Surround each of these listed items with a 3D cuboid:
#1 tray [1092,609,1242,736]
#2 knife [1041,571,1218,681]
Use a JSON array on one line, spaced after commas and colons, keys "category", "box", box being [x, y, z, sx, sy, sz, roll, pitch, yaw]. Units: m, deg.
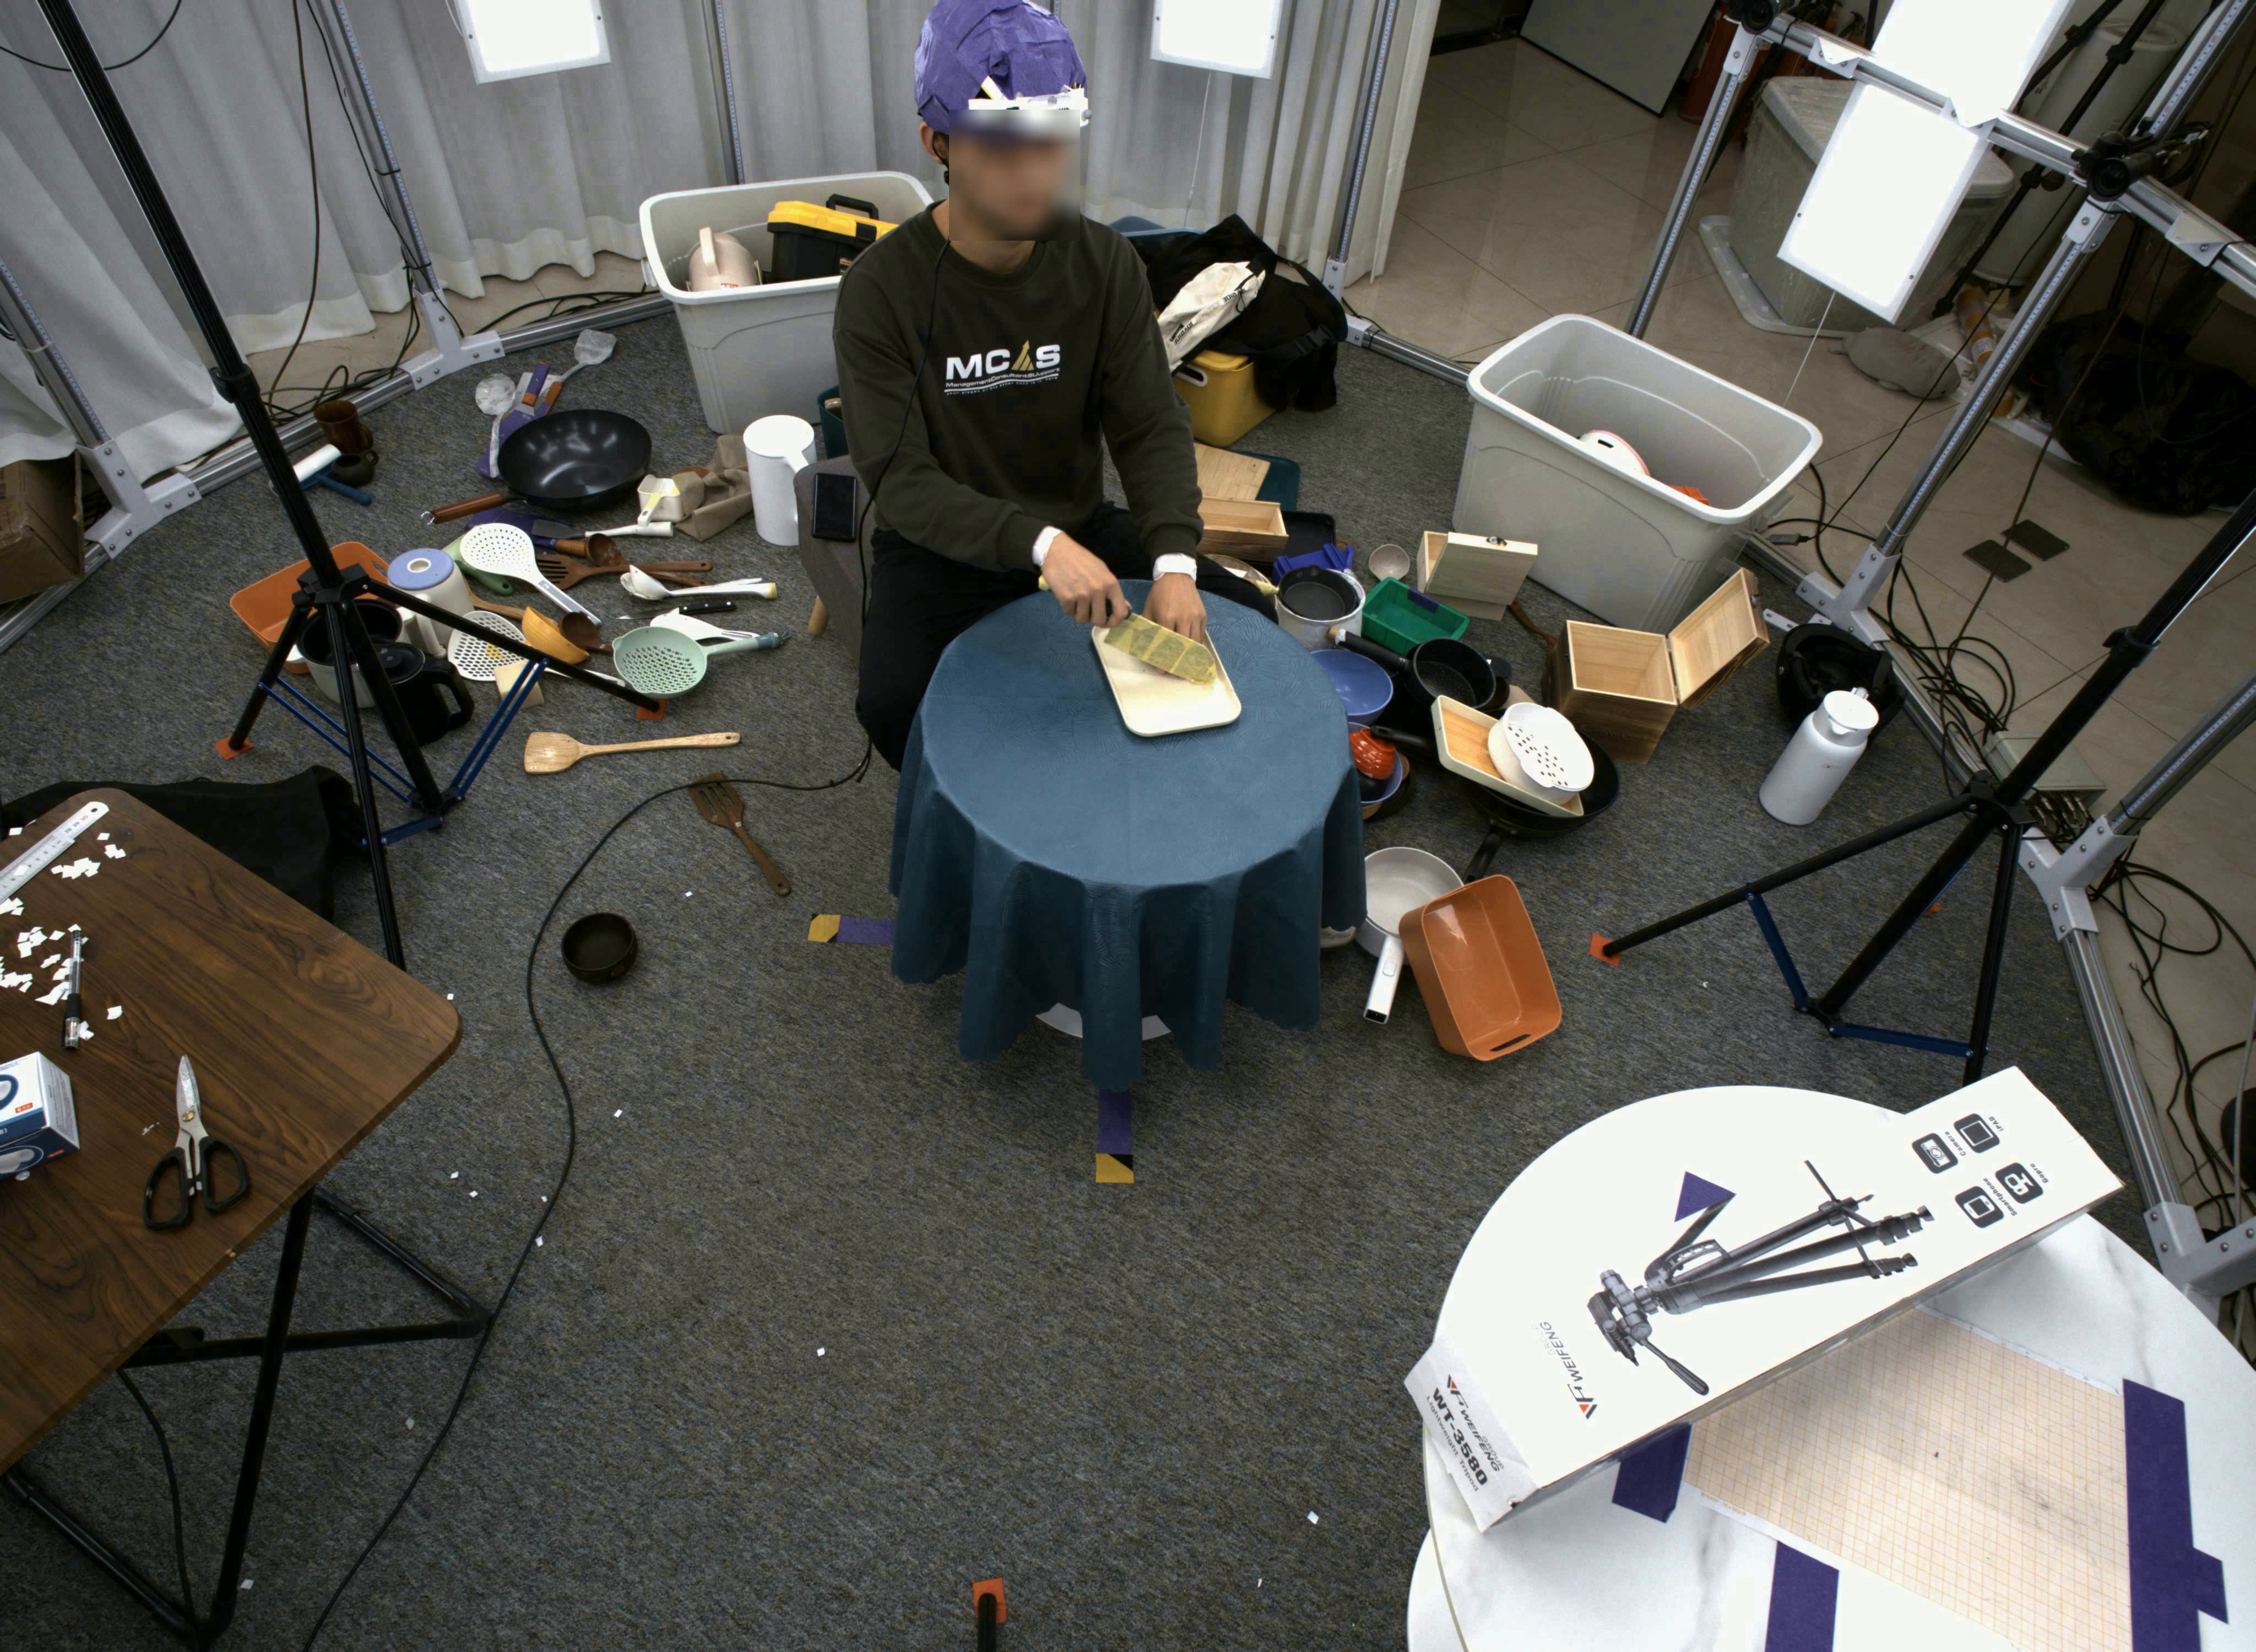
[{"category": "tray", "box": [0.053, -0.223, 1.852, 0.171, 0.017, 0.245, -10, 50, -12]}, {"category": "knife", "box": [0.002, -0.276, 1.801, 0.287, 0.079, 0.028, 27, 45, -12]}]
